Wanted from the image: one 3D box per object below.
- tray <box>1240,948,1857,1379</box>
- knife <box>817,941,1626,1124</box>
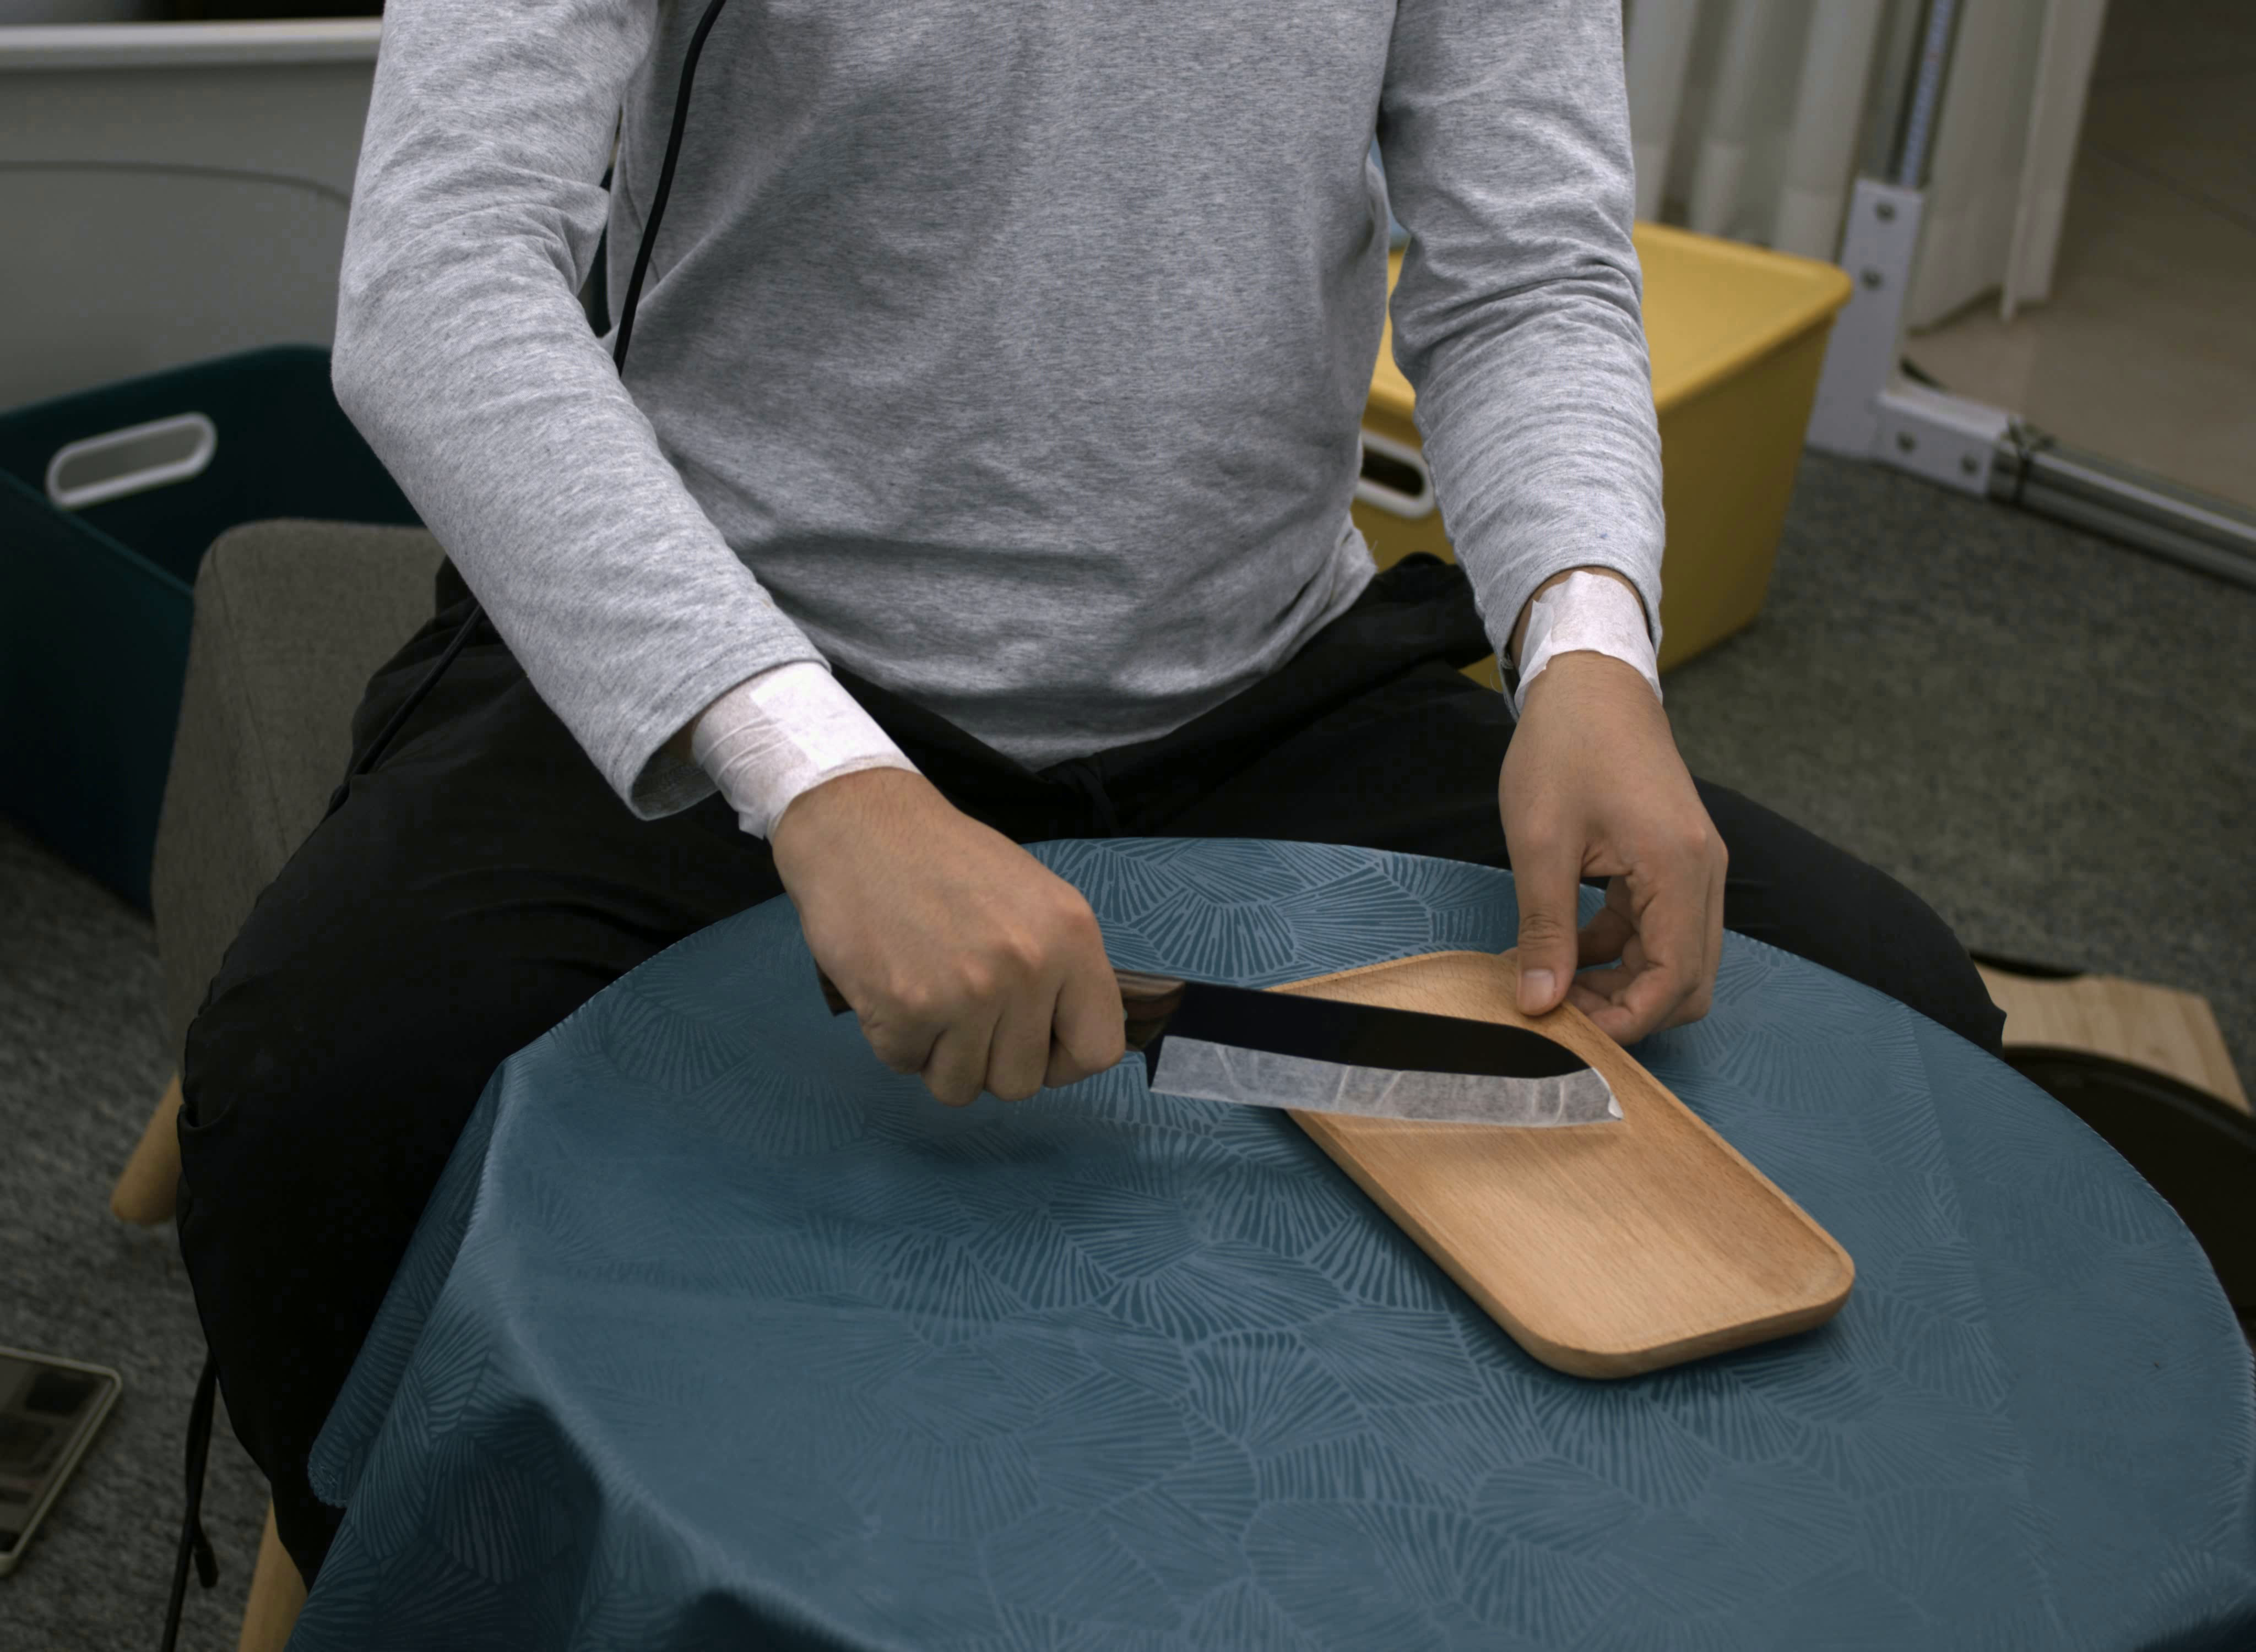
[{"bbox_3d":[0.139,0.113,1.834,0.130,0.023,0.253,-8,30,-25],"label":"tray"},{"bbox_3d":[0.034,0.072,1.824,0.288,0.050,0.020,10,25,-9],"label":"knife"}]
